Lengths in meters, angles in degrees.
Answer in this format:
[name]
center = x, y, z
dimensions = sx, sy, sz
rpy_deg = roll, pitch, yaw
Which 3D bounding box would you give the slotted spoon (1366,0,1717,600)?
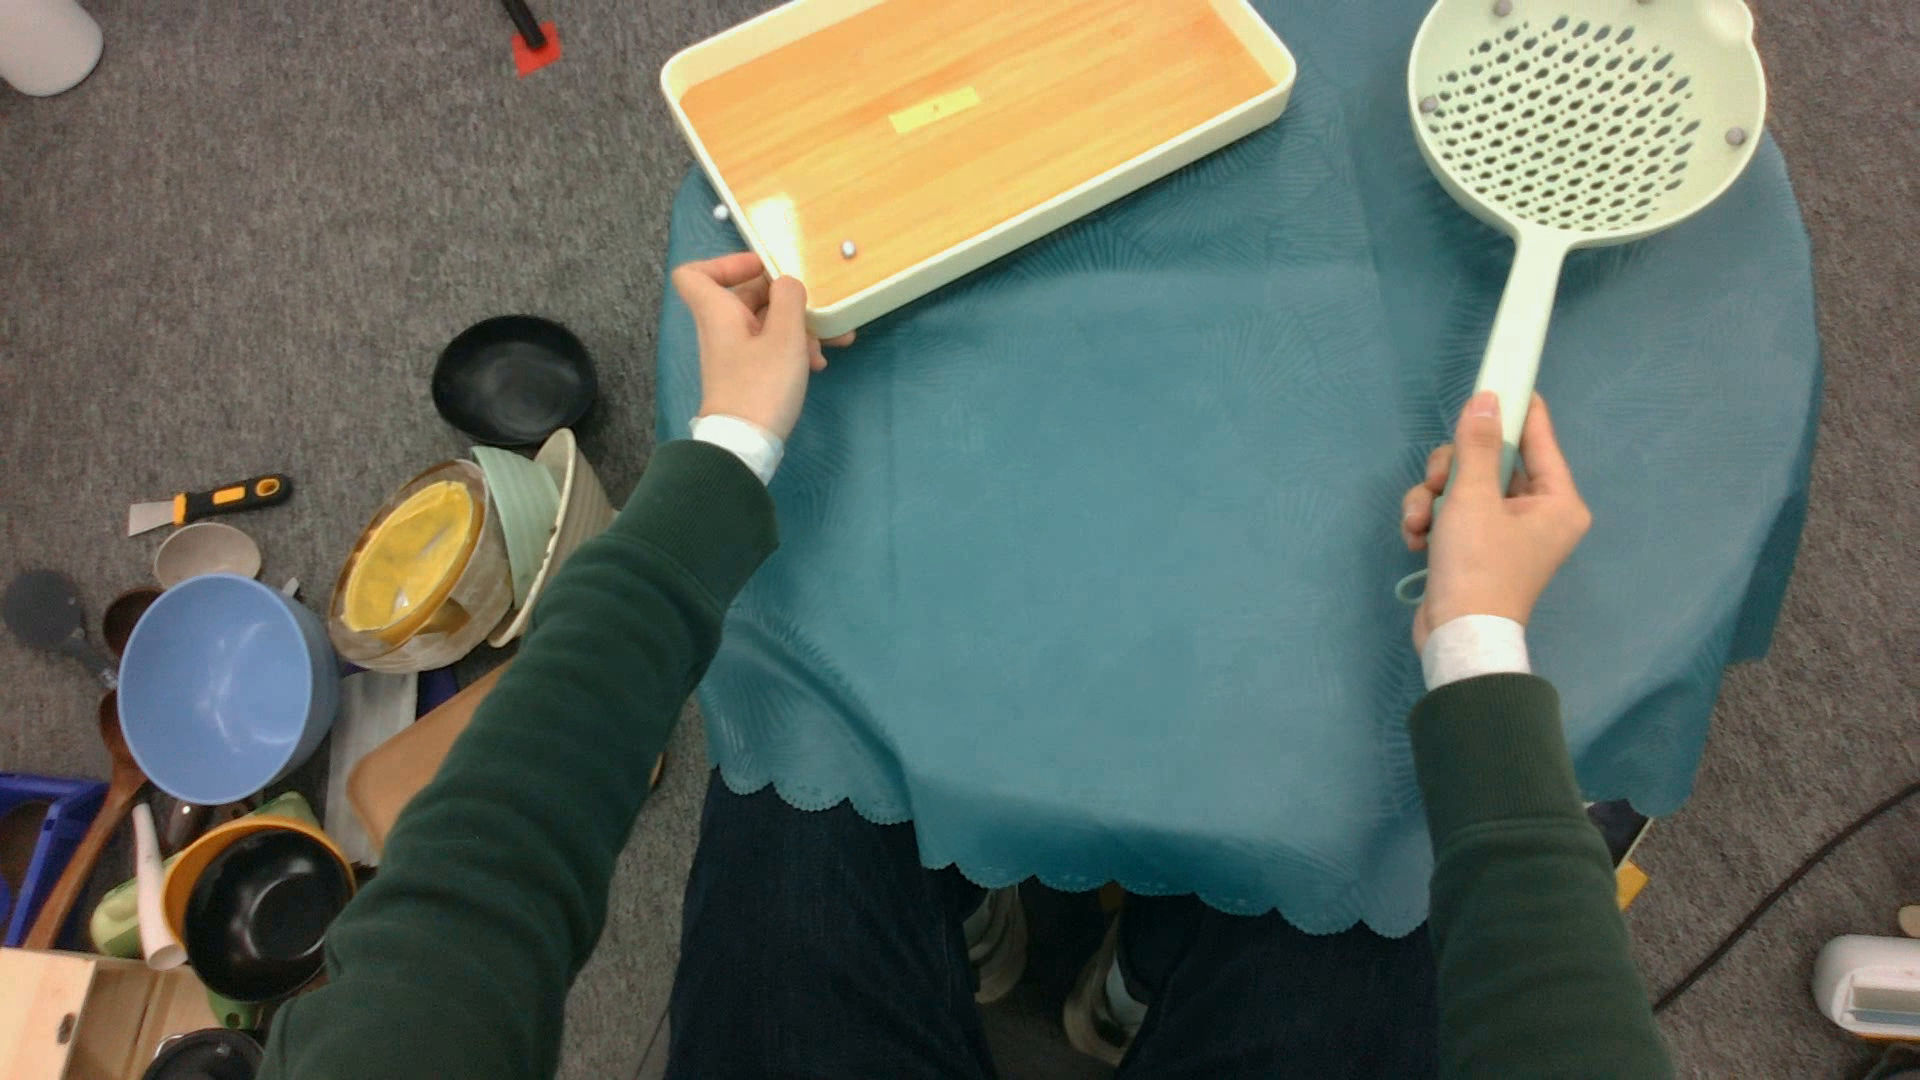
[slotted spoon]
center = 0.259, -0.142, 0.669
dimensions = 0.169, 0.075, 0.360
rpy_deg = 16, 65, 11

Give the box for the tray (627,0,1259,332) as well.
[tray]
center = -0.010, -0.249, 0.749
dimensions = 0.301, 0.027, 0.192
rpy_deg = -28, 69, -9
